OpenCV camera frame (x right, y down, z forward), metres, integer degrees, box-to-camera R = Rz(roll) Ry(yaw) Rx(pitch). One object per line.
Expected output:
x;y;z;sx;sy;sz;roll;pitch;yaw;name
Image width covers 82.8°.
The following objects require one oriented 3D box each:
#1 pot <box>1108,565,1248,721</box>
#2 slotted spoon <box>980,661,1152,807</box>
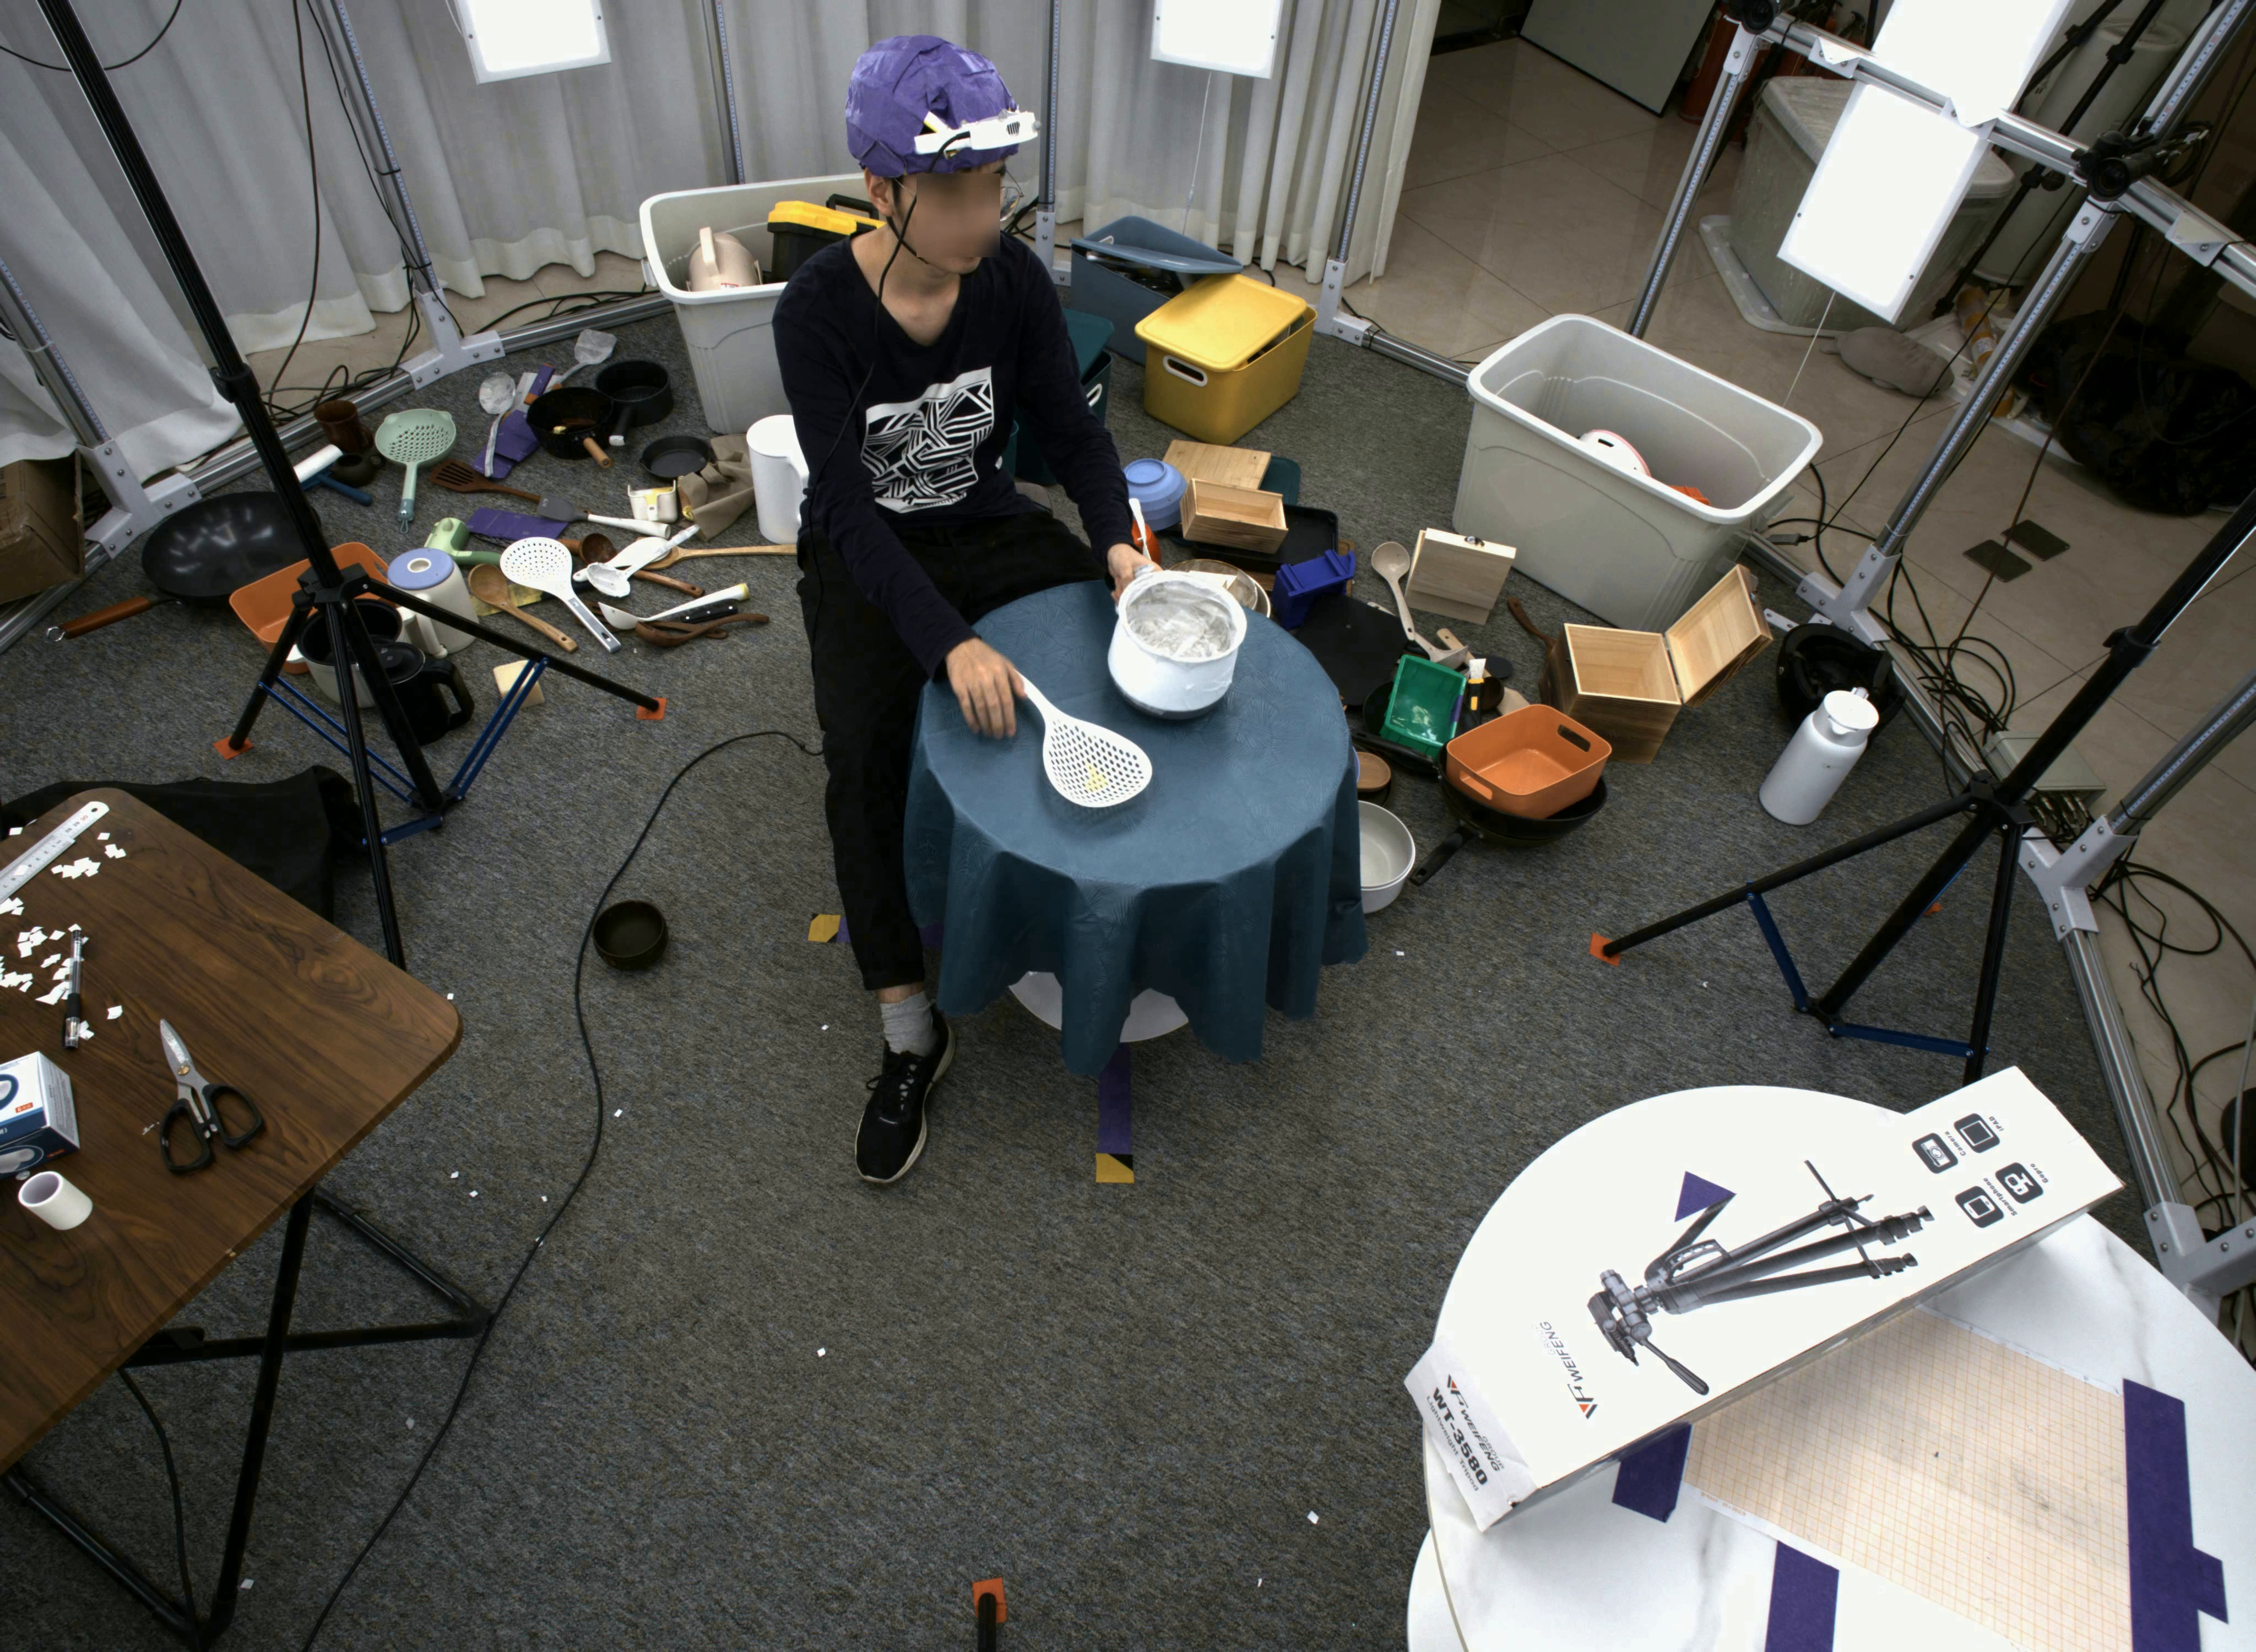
0.052;-0.266;1.801;0.179;0.133;0.238;-17;57;-25;pot
-0.102;-0.138;1.752;0.137;0.049;0.354;-26;56;-23;slotted spoon
